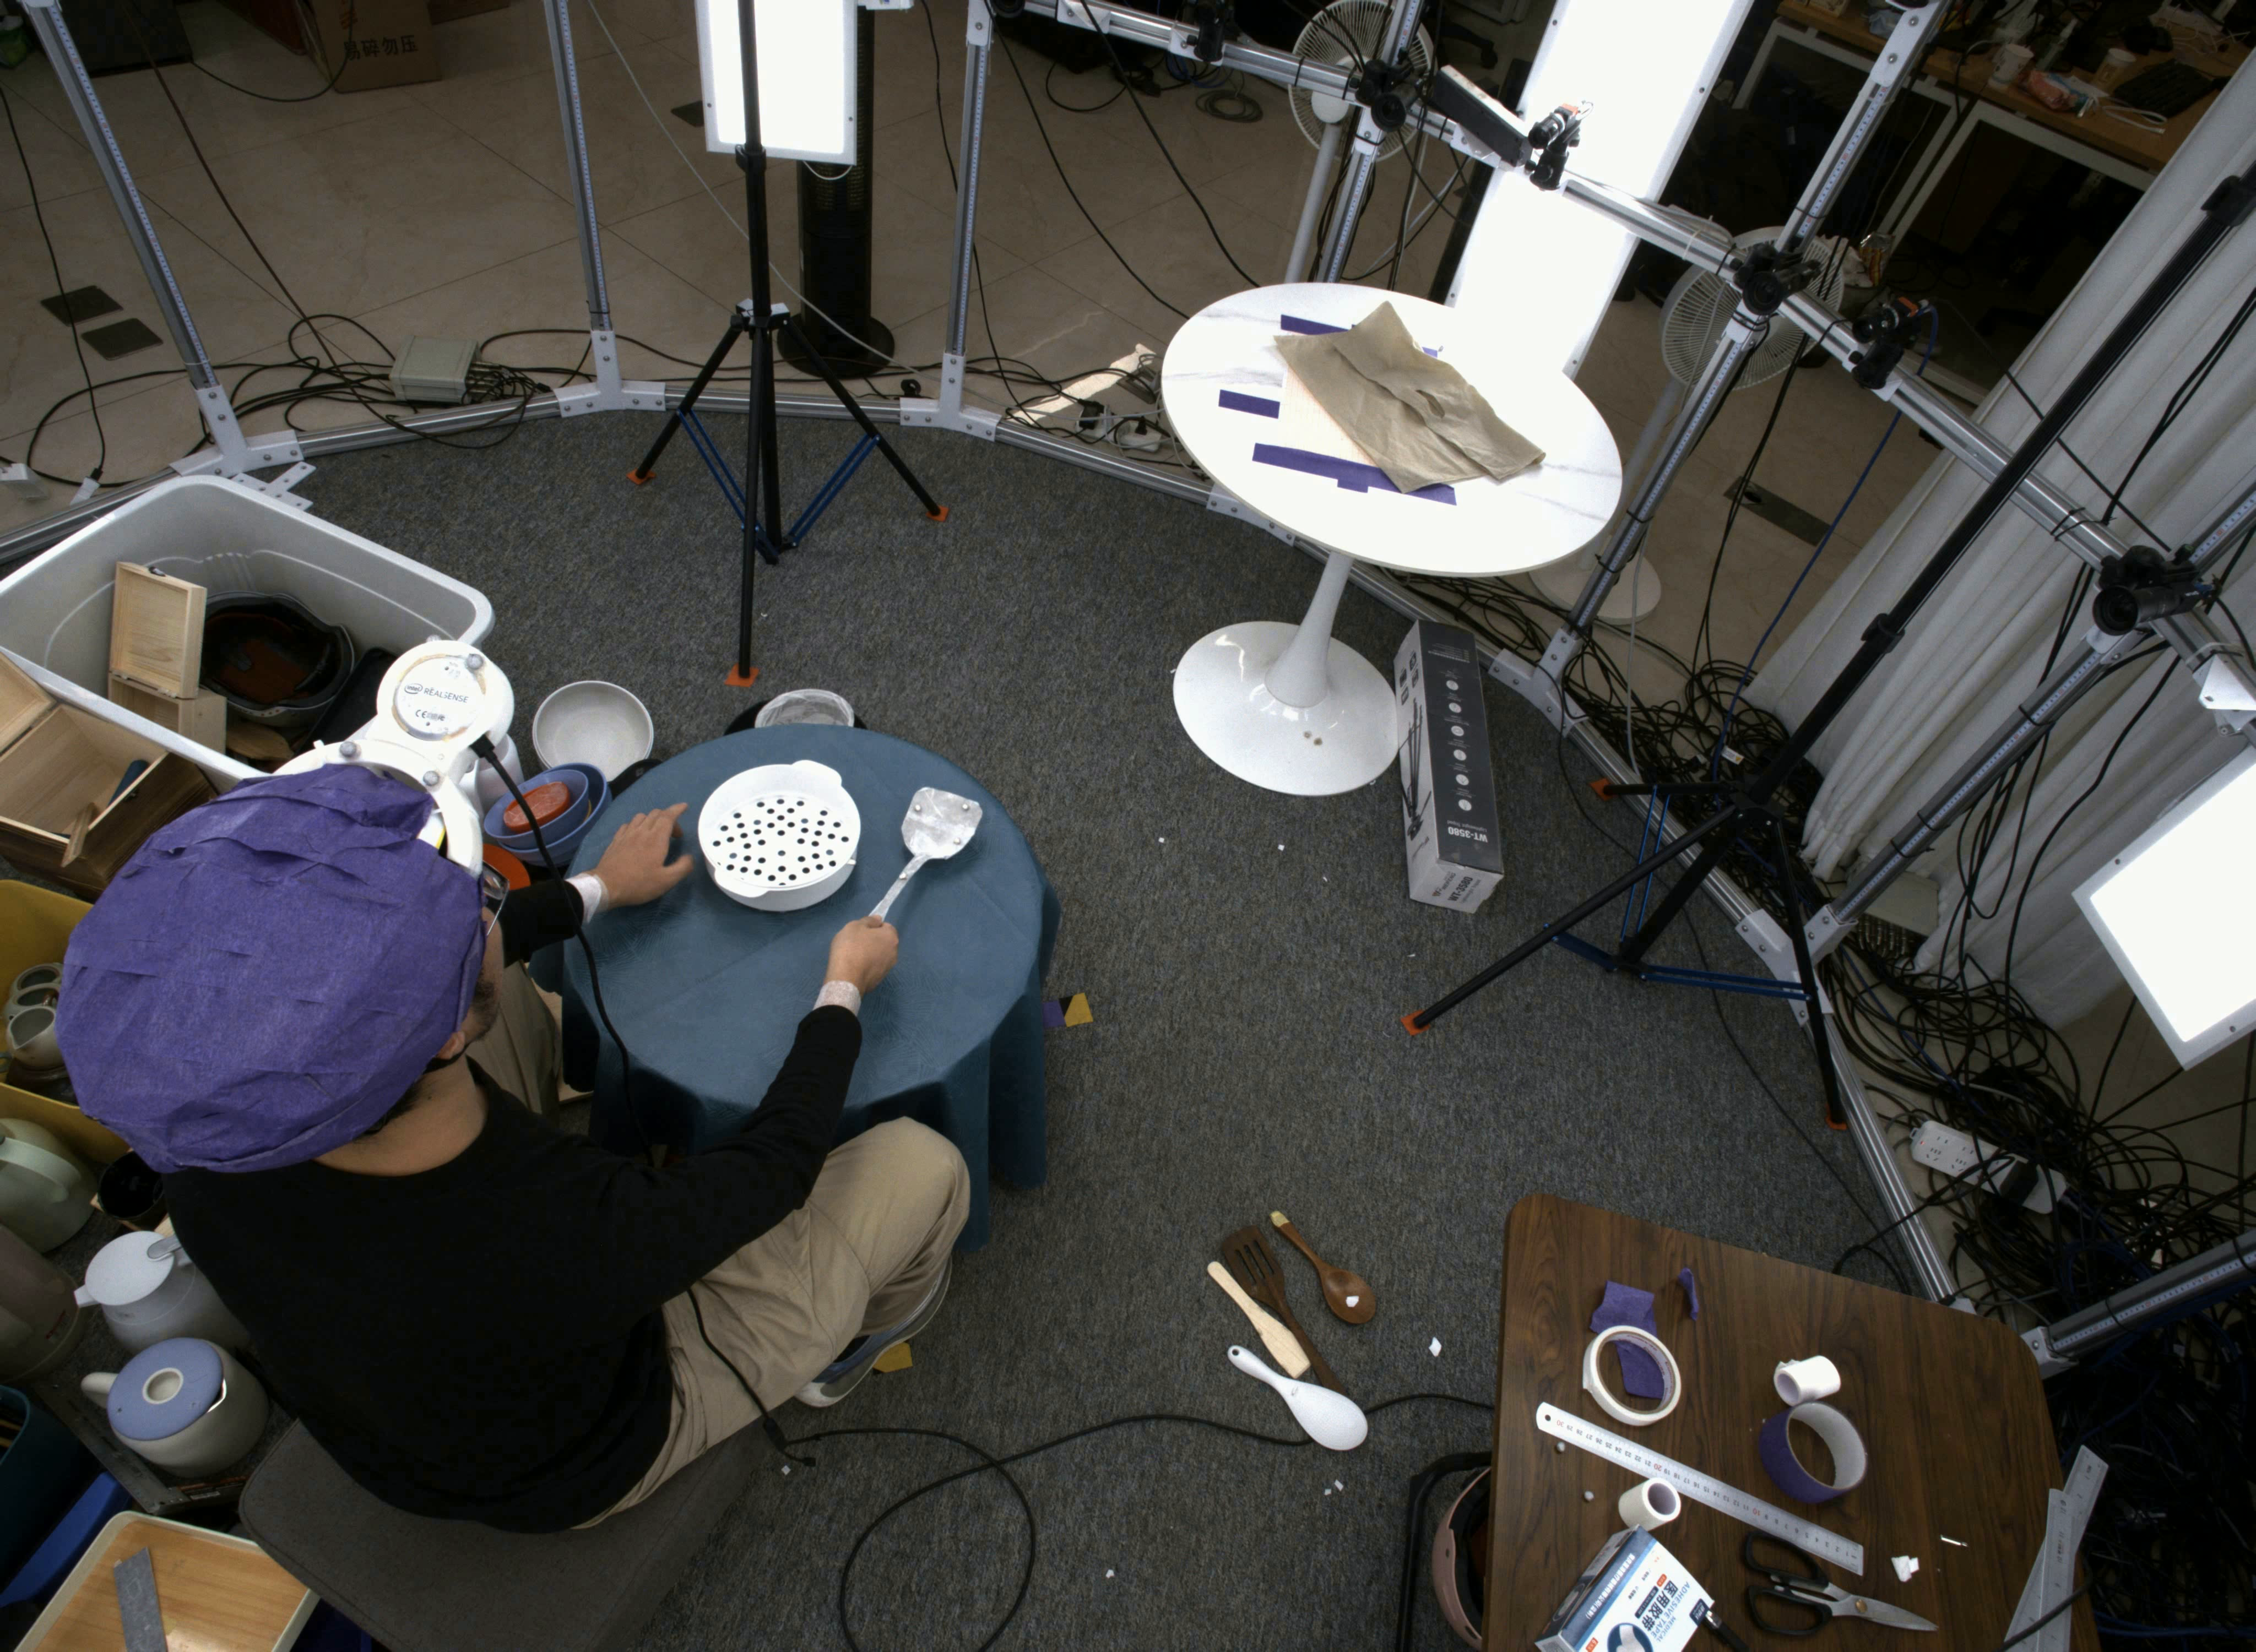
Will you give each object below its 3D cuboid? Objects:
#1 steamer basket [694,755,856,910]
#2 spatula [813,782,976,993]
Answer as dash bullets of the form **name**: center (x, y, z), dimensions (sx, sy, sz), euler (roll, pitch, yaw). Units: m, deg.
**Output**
- **steamer basket**: center (-0.449, 0.012, 1.658), dimensions (0.199, 0.070, 0.228), euler (22, 53, 4)
- **spatula**: center (-0.297, 0.071, 1.619), dimensions (0.097, 0.046, 0.361), euler (20, 41, 5)
